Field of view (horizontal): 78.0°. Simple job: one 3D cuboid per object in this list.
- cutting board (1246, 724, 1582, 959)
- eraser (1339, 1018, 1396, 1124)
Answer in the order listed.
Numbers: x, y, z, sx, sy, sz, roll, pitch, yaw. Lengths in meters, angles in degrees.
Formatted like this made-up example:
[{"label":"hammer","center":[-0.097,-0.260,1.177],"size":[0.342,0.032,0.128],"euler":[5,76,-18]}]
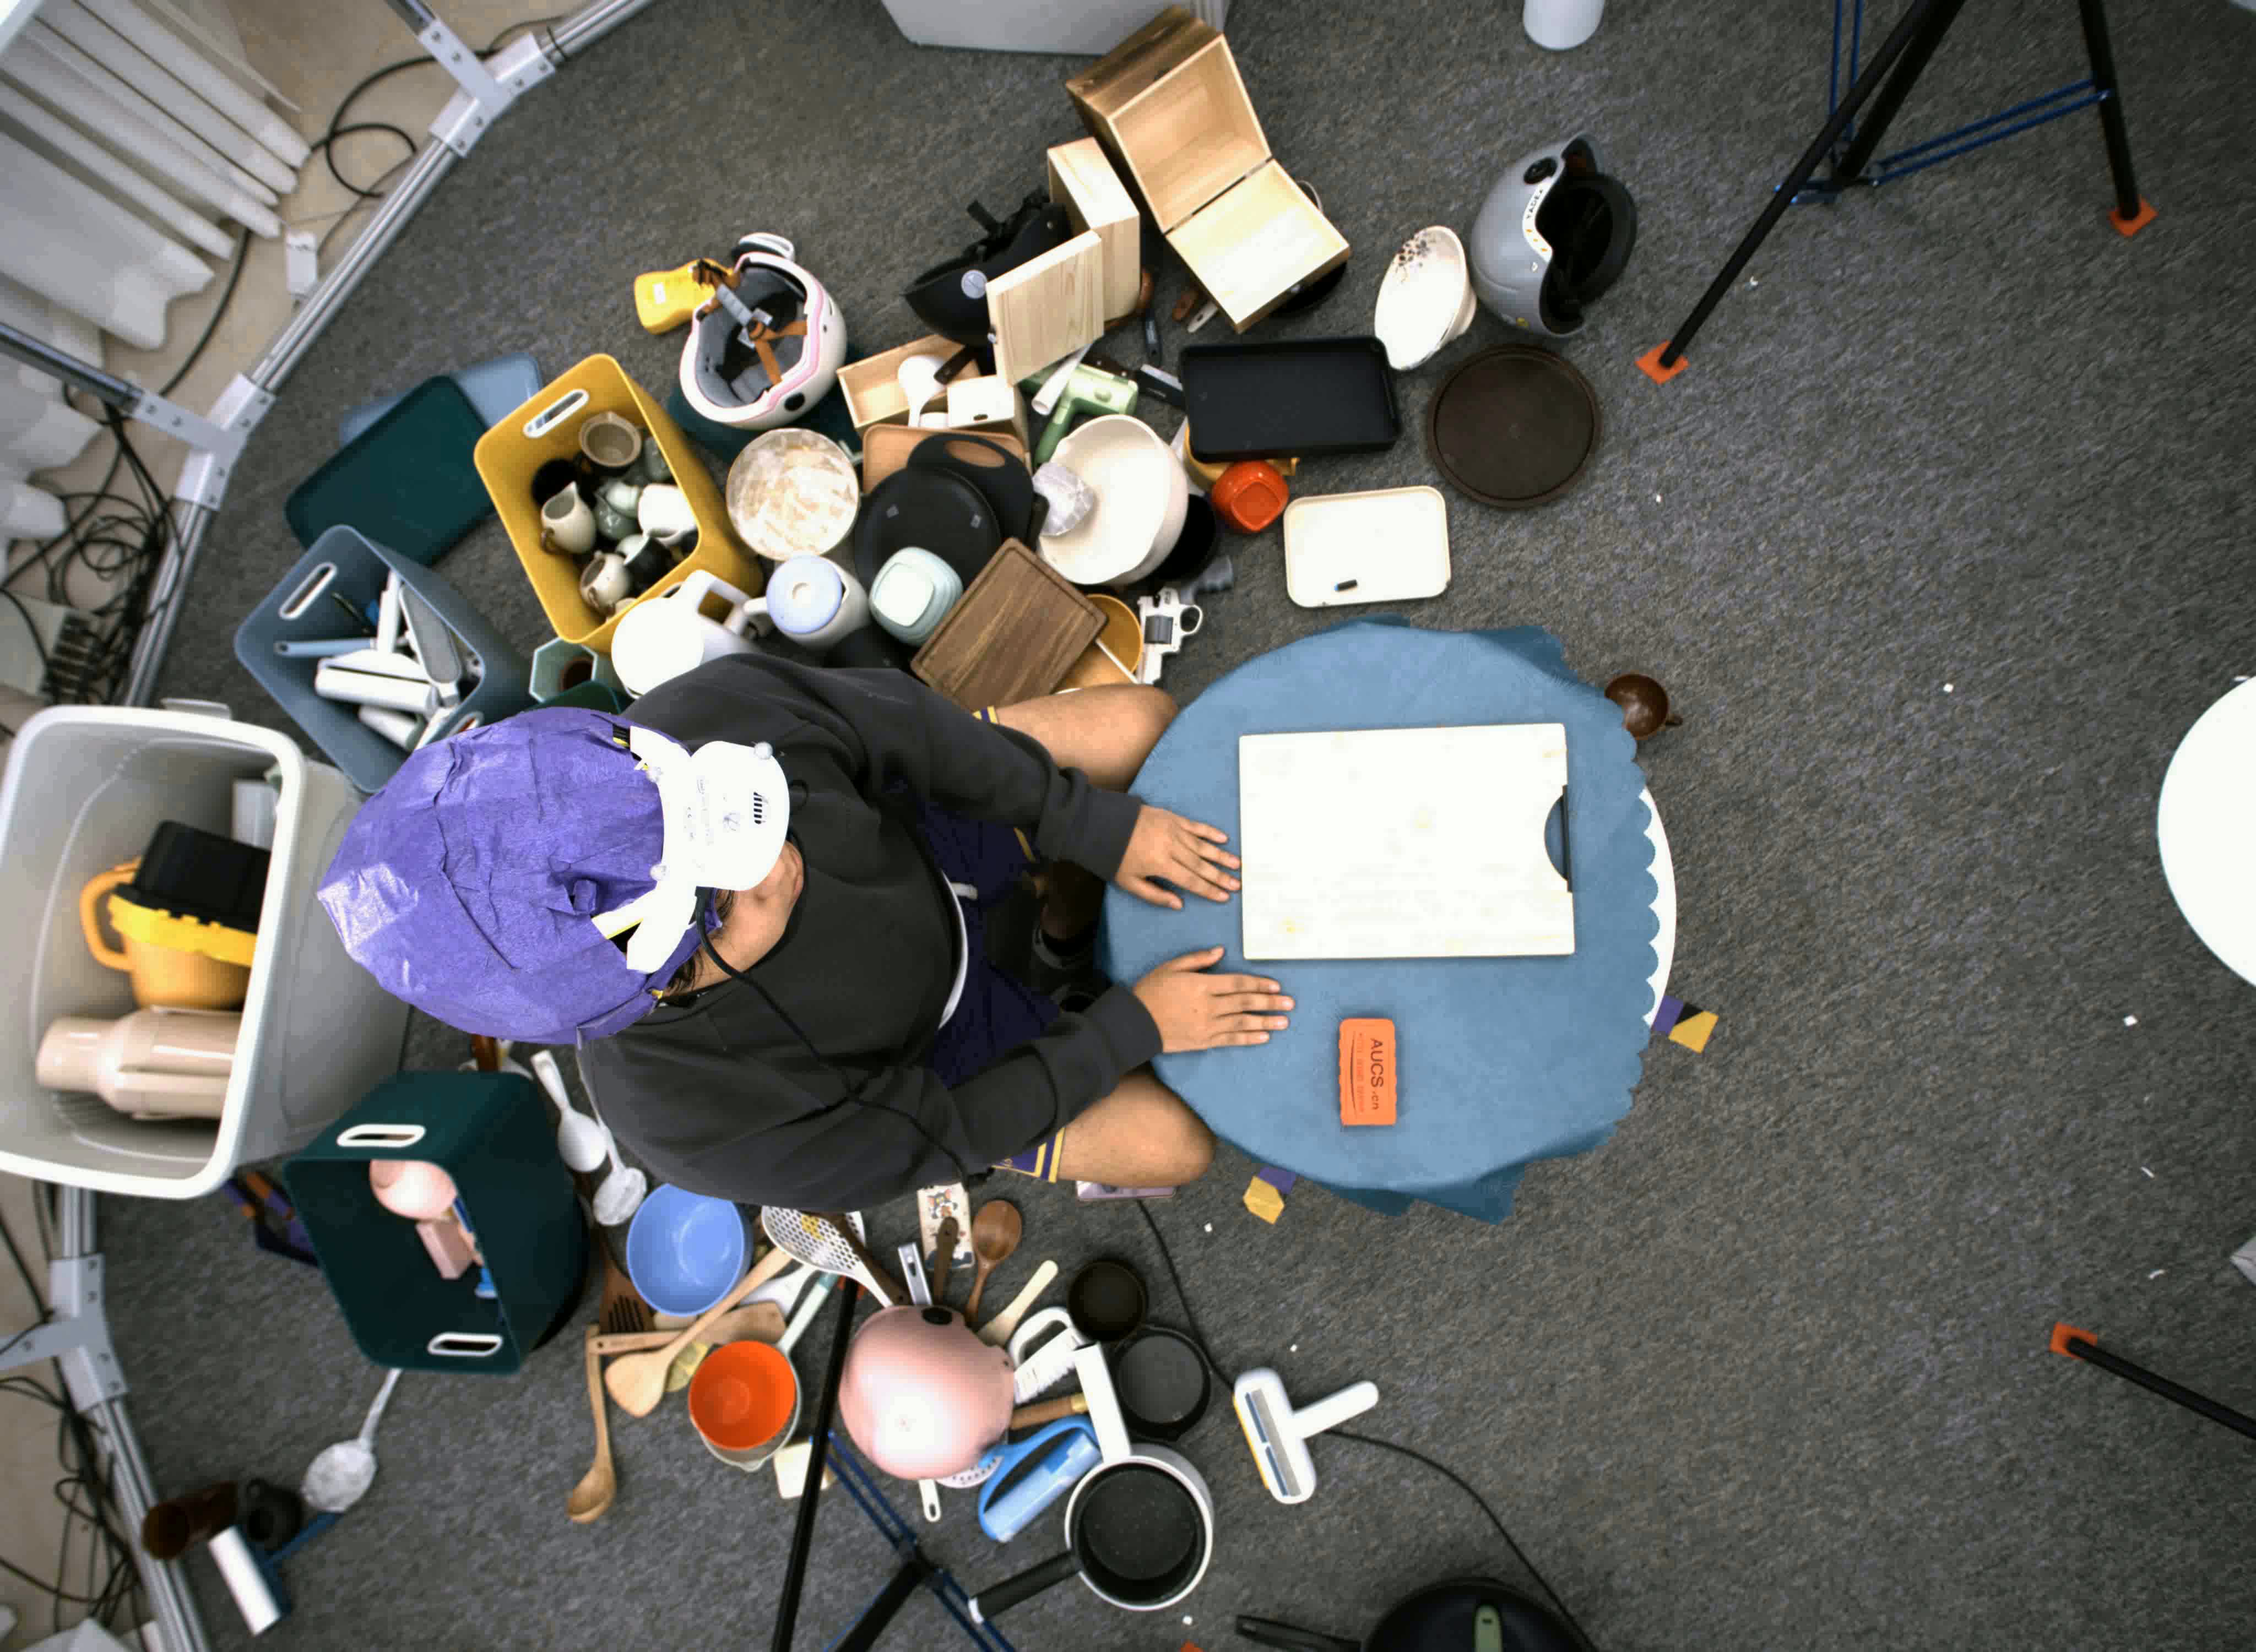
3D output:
[{"label":"cutting board","center":[0.294,0.017,1.450],"size":[0.350,0.023,0.249],"euler":[-3,87,10]},{"label":"eraser","center":[0.249,0.253,1.441],"size":[0.059,0.023,0.107],"euler":[0,86,10]}]
